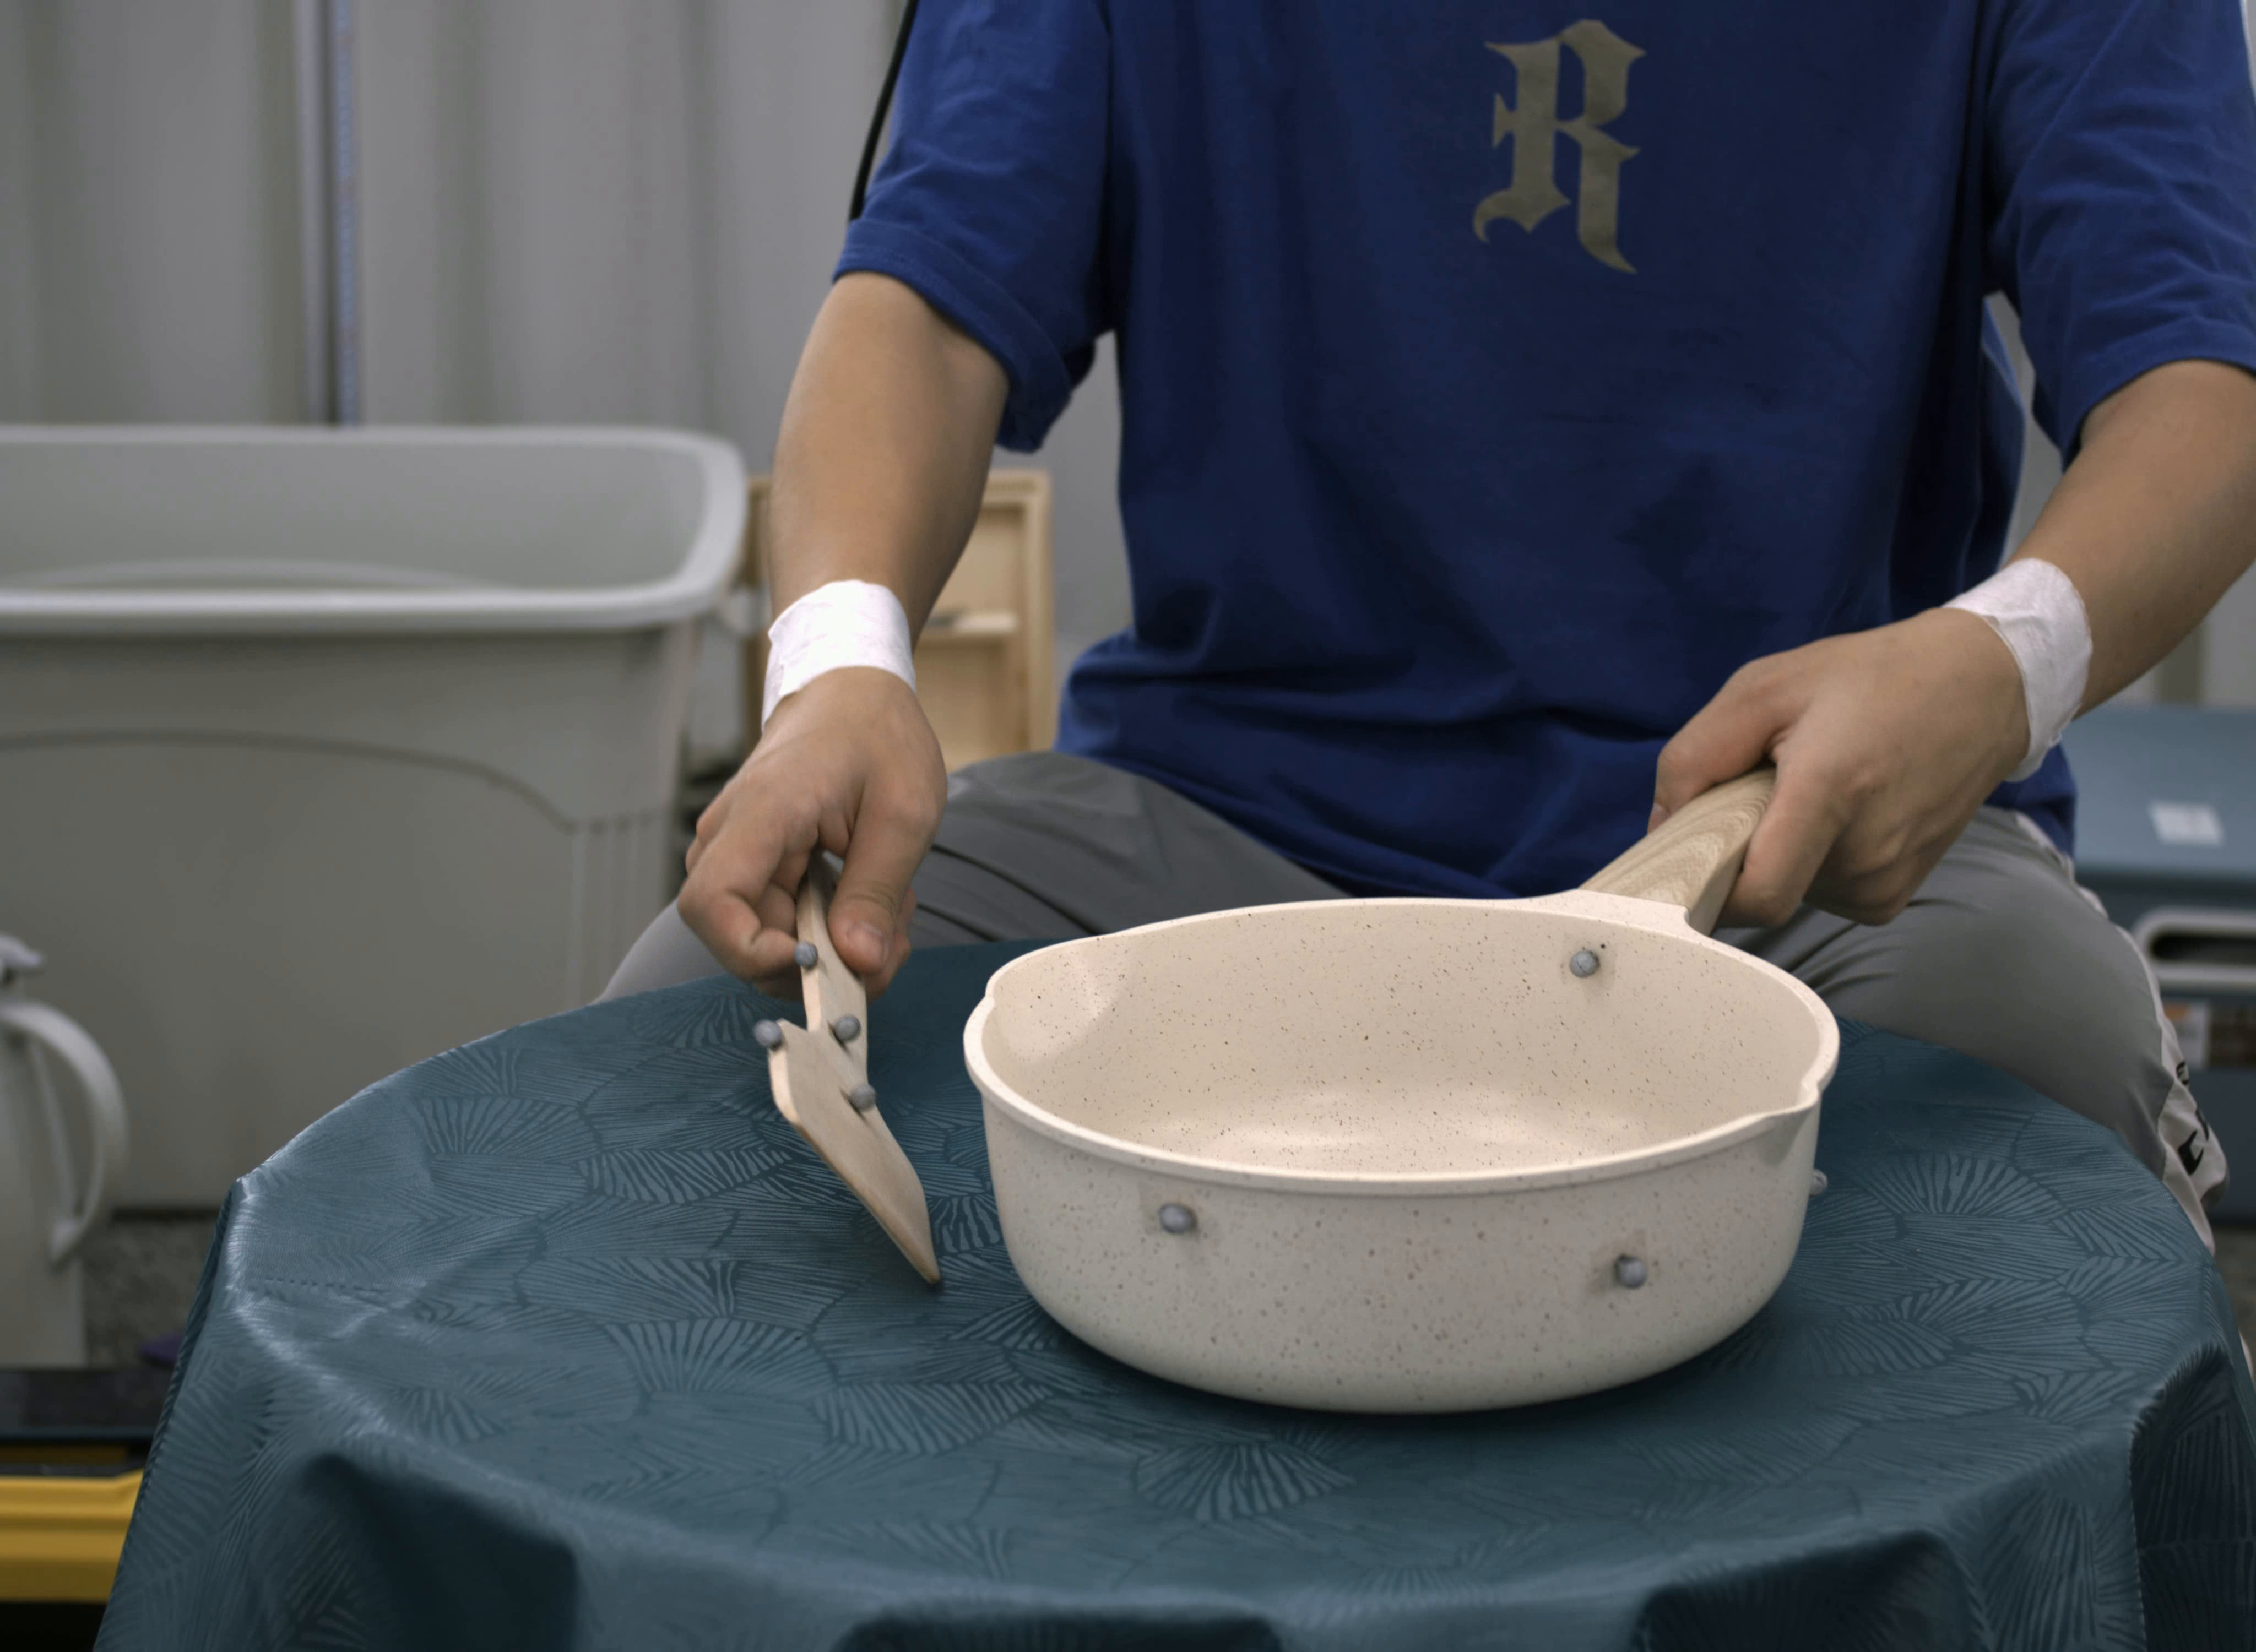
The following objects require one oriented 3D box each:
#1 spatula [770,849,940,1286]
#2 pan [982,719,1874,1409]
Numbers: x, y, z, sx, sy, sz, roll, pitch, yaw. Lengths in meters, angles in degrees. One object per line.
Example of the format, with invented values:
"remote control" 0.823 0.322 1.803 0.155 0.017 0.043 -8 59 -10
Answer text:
"spatula" -0.090 0.063 1.659 0.010 0.073 0.290 -37 18 8
"pan" 0.131 0.066 1.589 0.260 0.103 0.436 8 18 30
